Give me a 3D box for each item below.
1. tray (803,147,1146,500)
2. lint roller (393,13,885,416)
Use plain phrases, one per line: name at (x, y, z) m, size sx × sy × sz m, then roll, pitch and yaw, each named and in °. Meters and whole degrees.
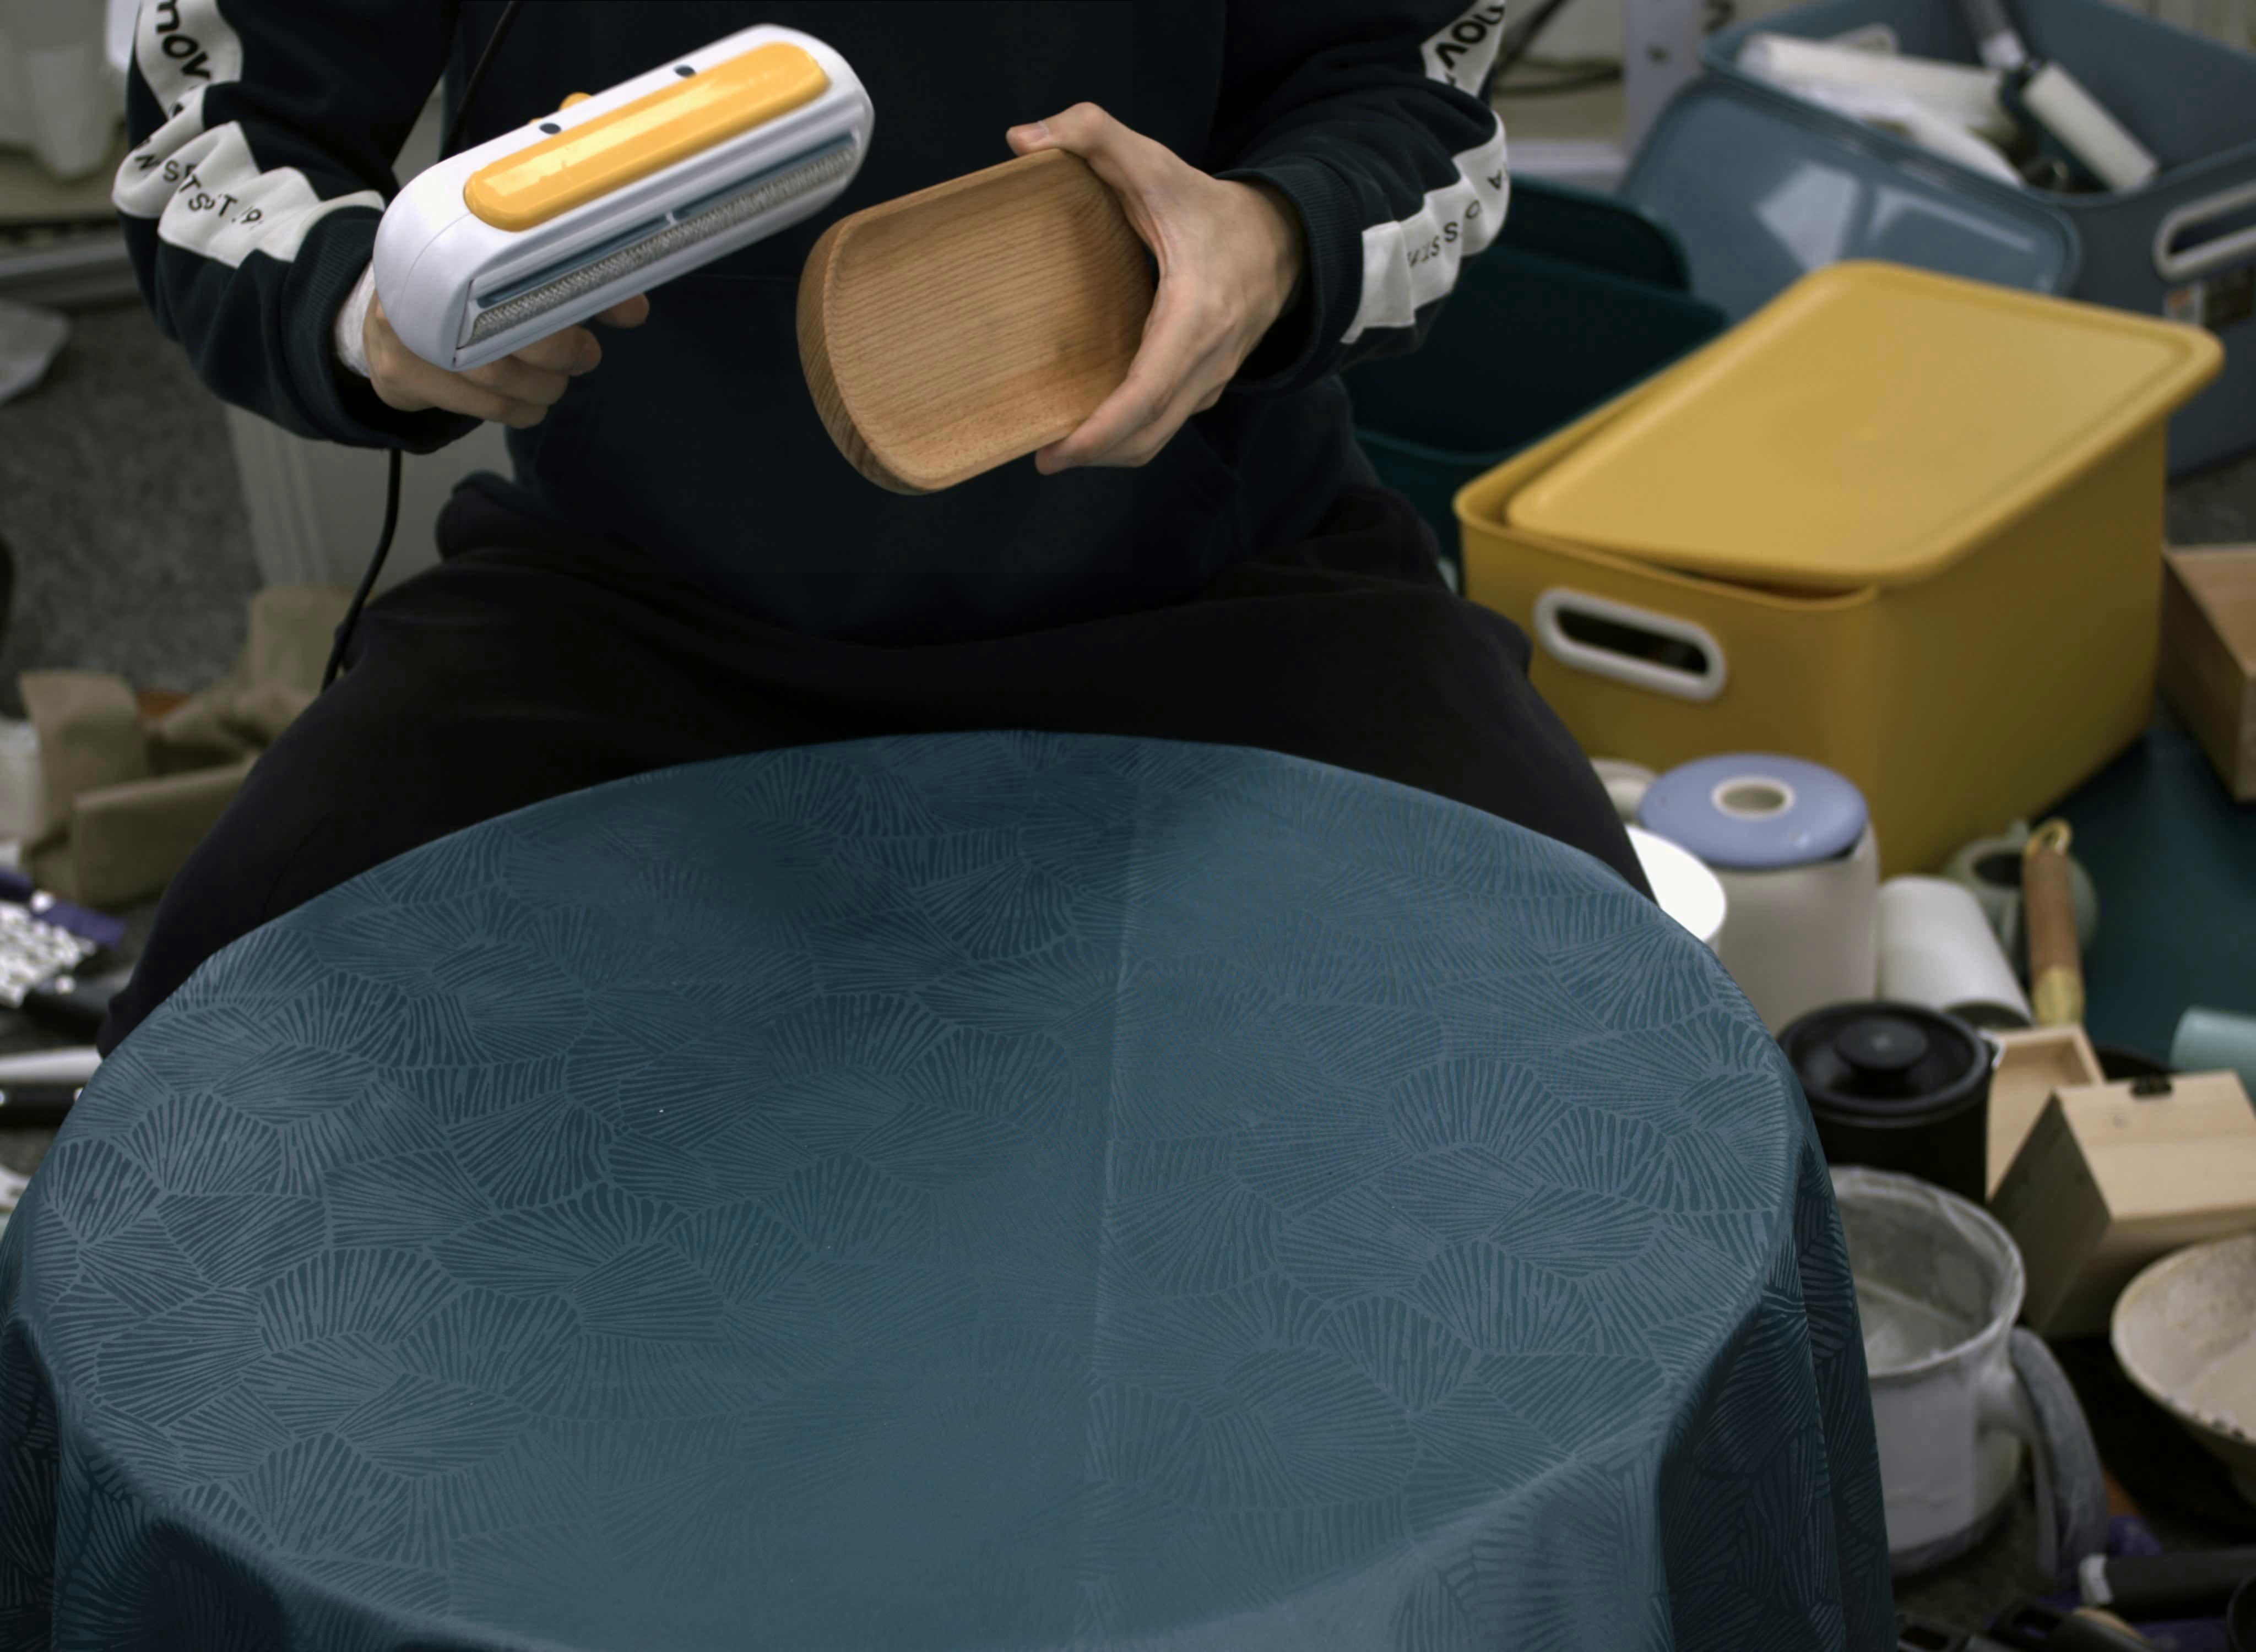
tray at (-0.052, -0.179, 1.995) m, size 0.020 × 0.101 × 0.234 m, roll -12°, pitch 9°, yaw 30°
lint roller at (-0.190, -0.192, 1.953) m, size 0.195 × 0.189 × 0.074 m, roll -32°, pitch 75°, yaw -39°
